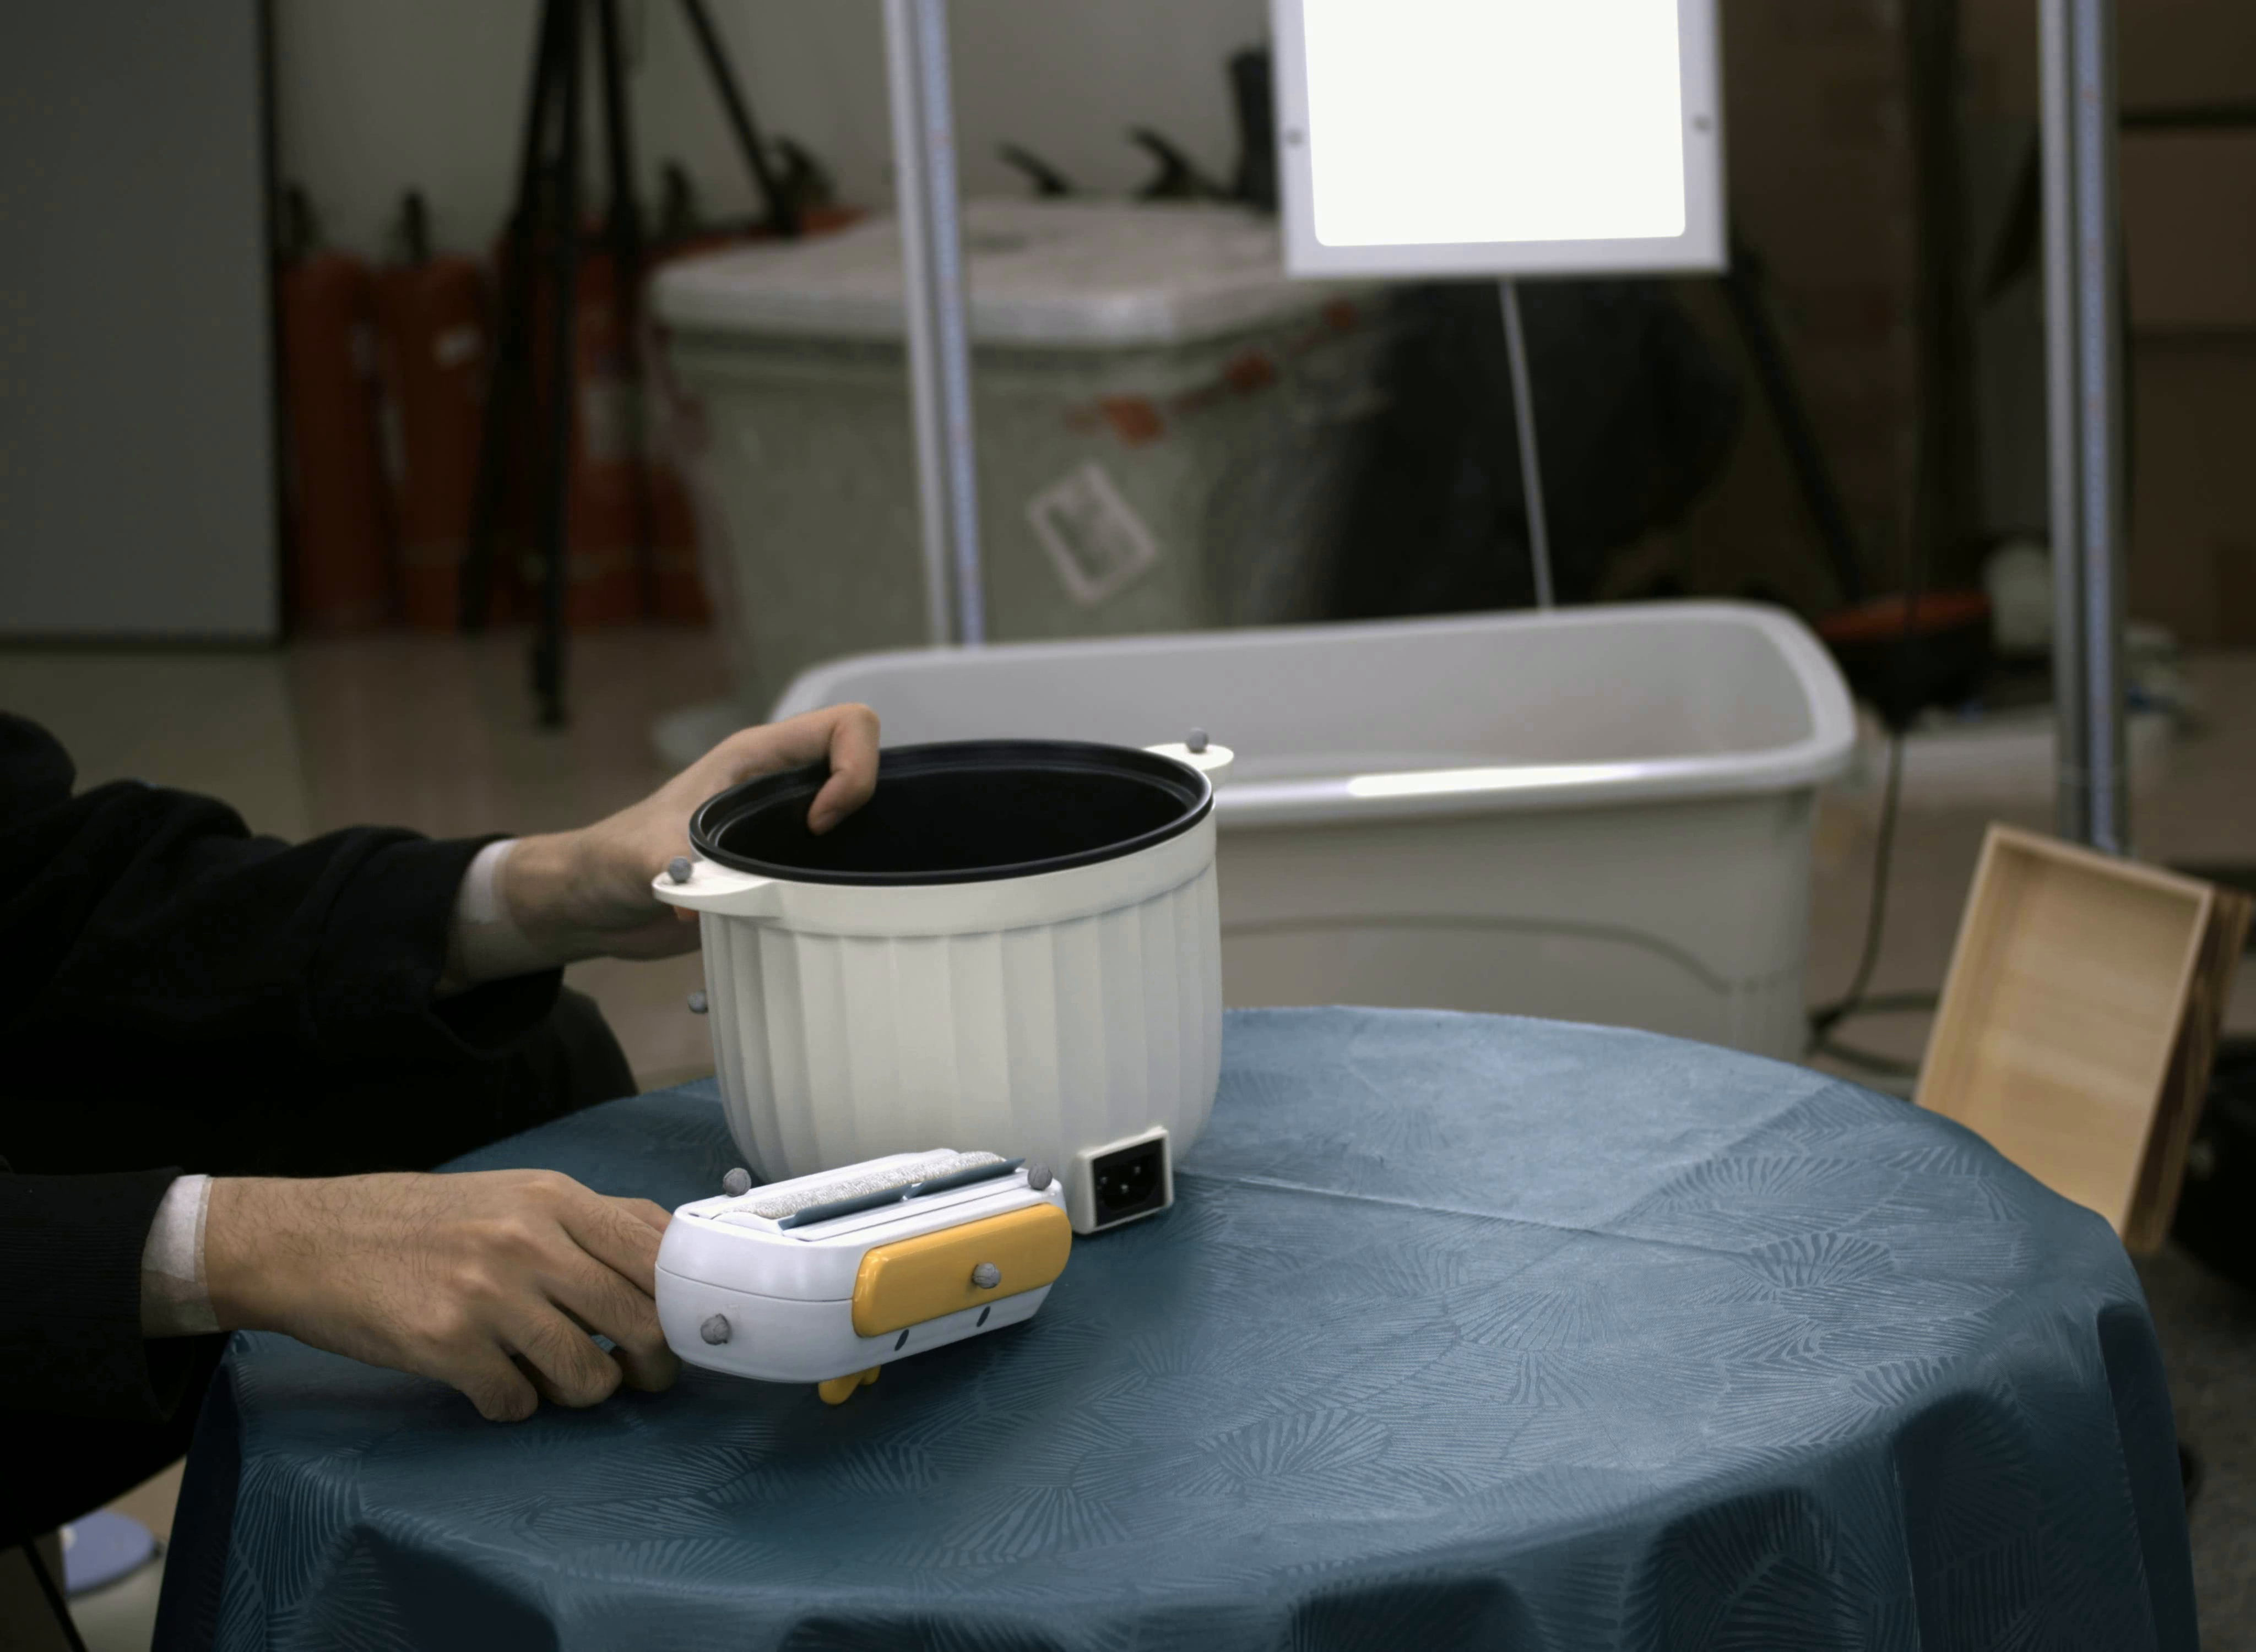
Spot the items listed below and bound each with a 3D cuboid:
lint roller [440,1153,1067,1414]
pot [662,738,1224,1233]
[{"bbox_3d":[-0.135,0.142,1.738,0.196,0.074,0.188,1,8,30],"label":"lint roller"},{"bbox_3d":[-0.061,0.056,1.908,0.234,0.143,0.194,-14,20,-38],"label":"pot"}]
